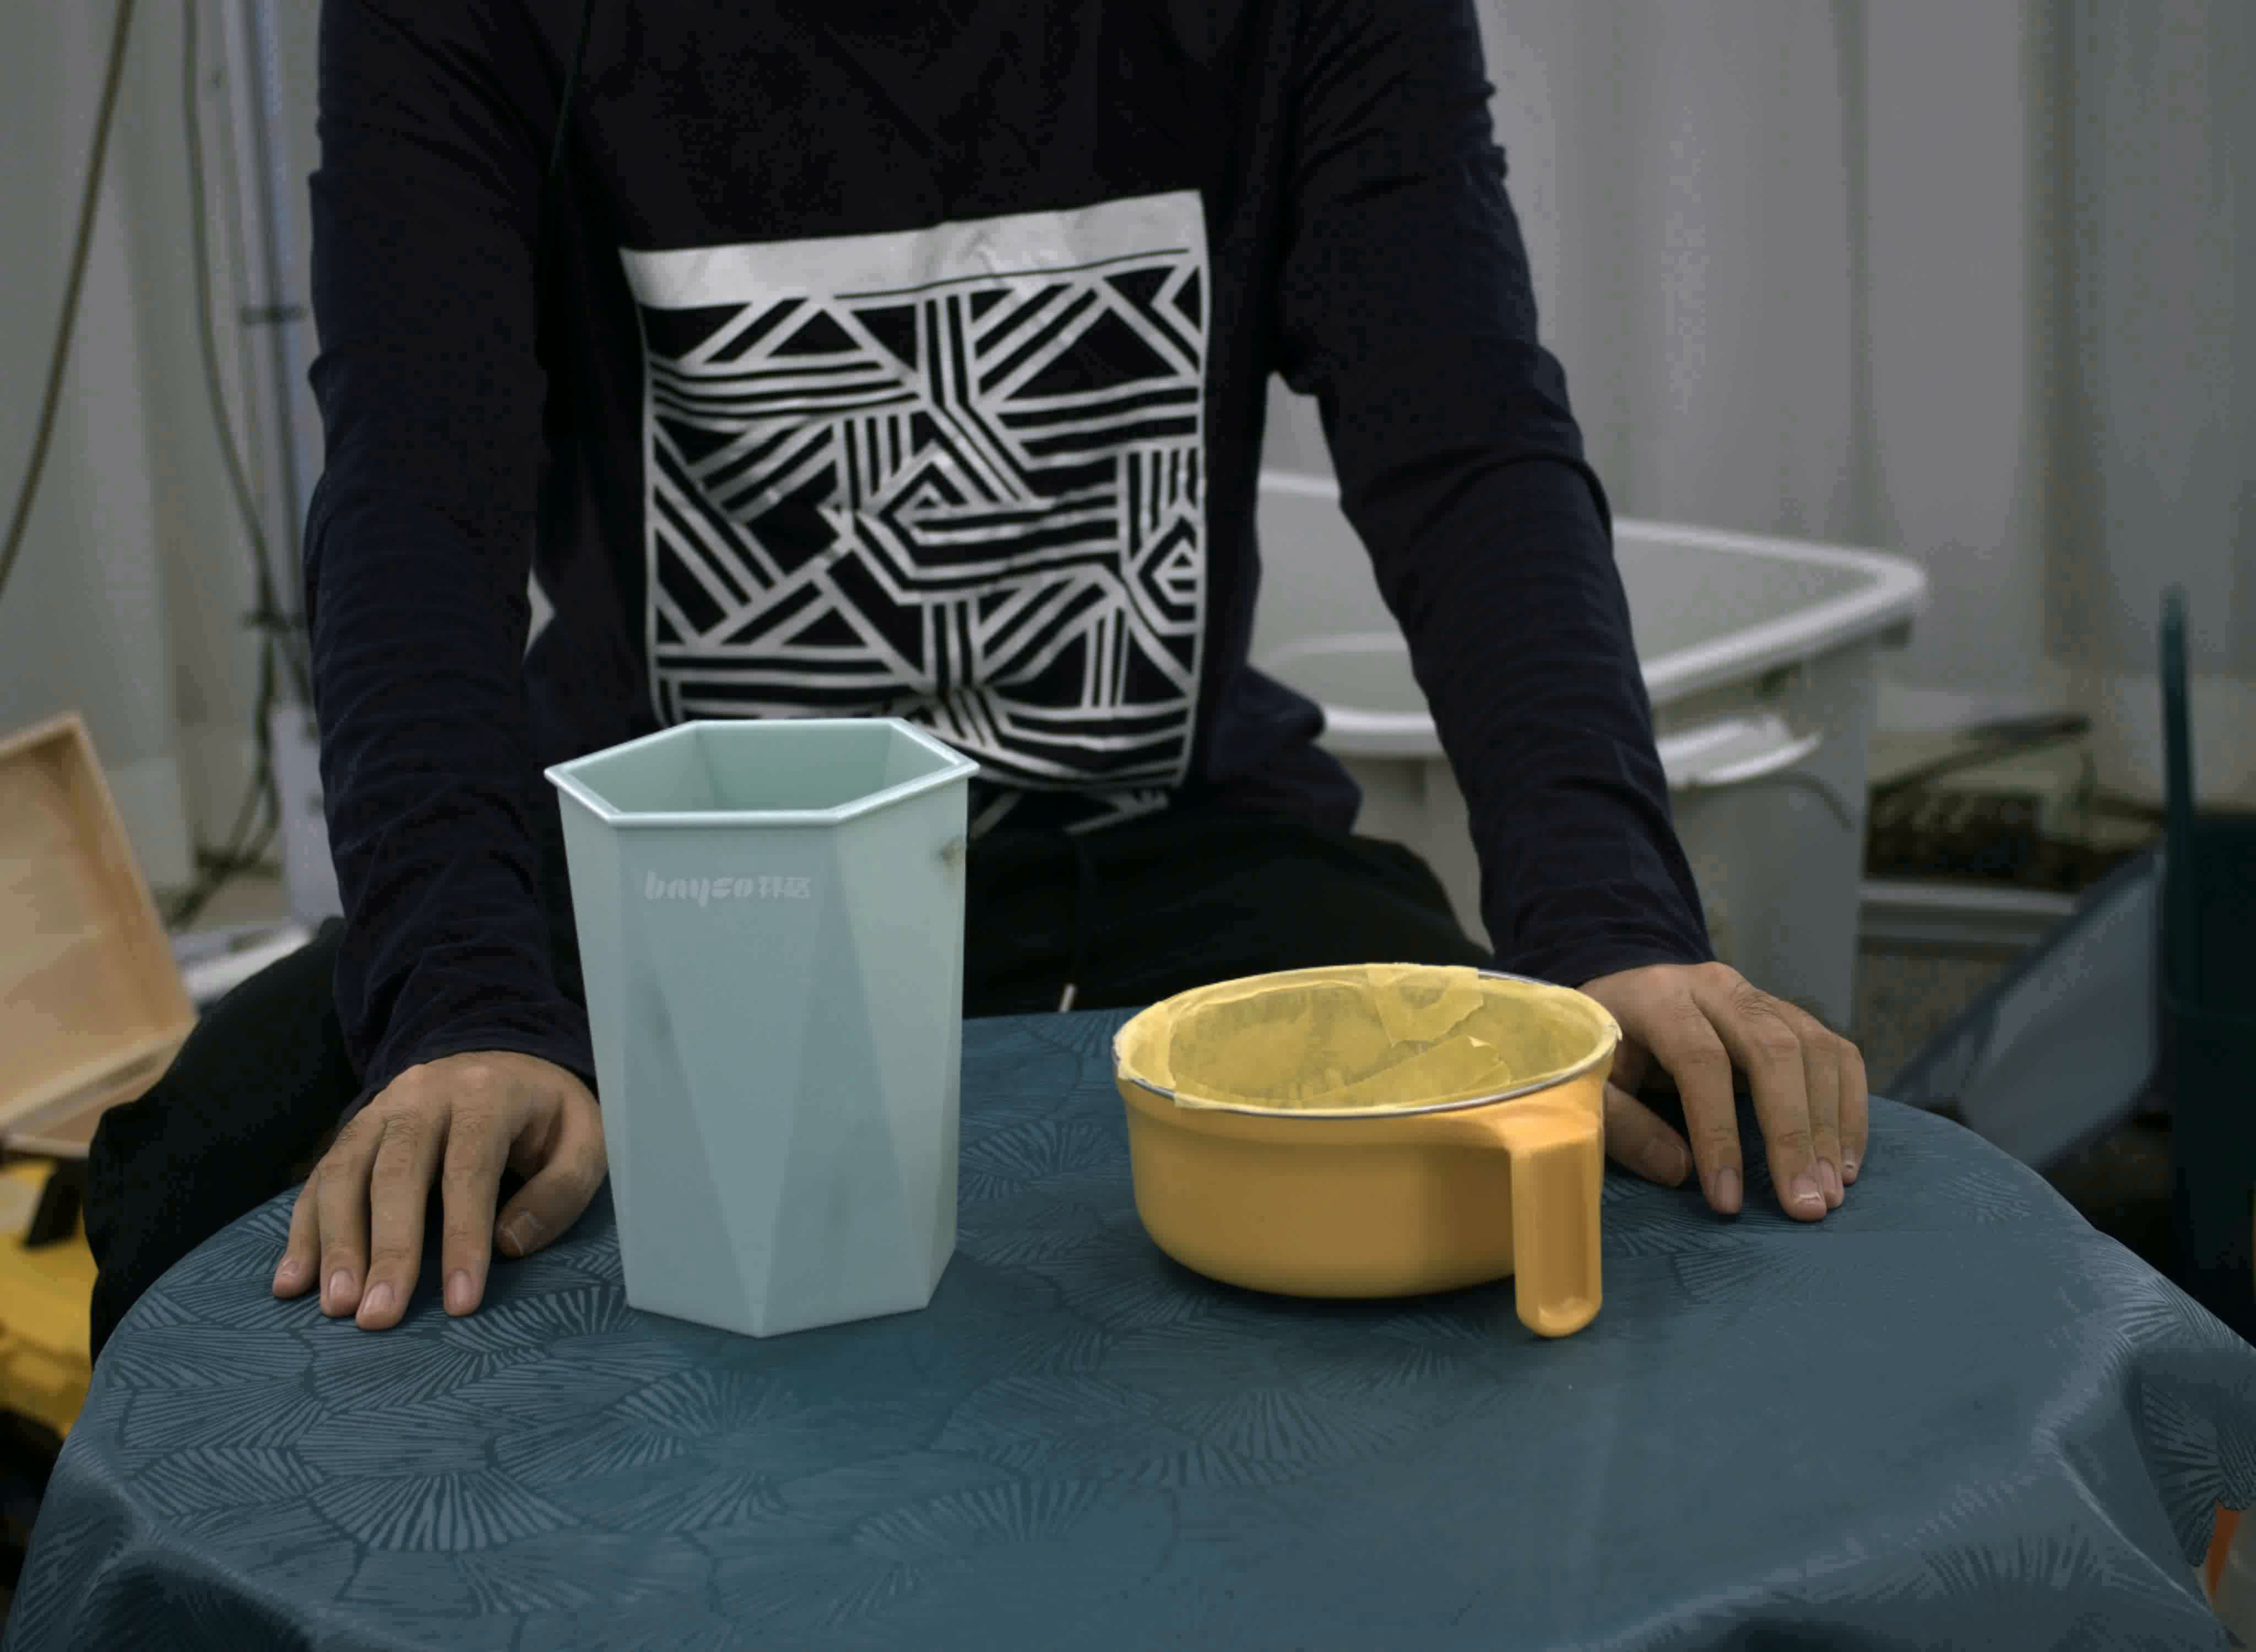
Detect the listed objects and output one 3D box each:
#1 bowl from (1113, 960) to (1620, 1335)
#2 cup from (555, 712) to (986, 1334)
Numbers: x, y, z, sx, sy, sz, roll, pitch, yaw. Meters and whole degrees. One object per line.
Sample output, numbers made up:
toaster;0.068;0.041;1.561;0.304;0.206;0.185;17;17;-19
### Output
bowl;0.078;0.095;1.637;0.152;0.074;0.180;-8;13;-31
cup;-0.103;0.058;1.631;0.131;0.162;0.116;0;13;7
